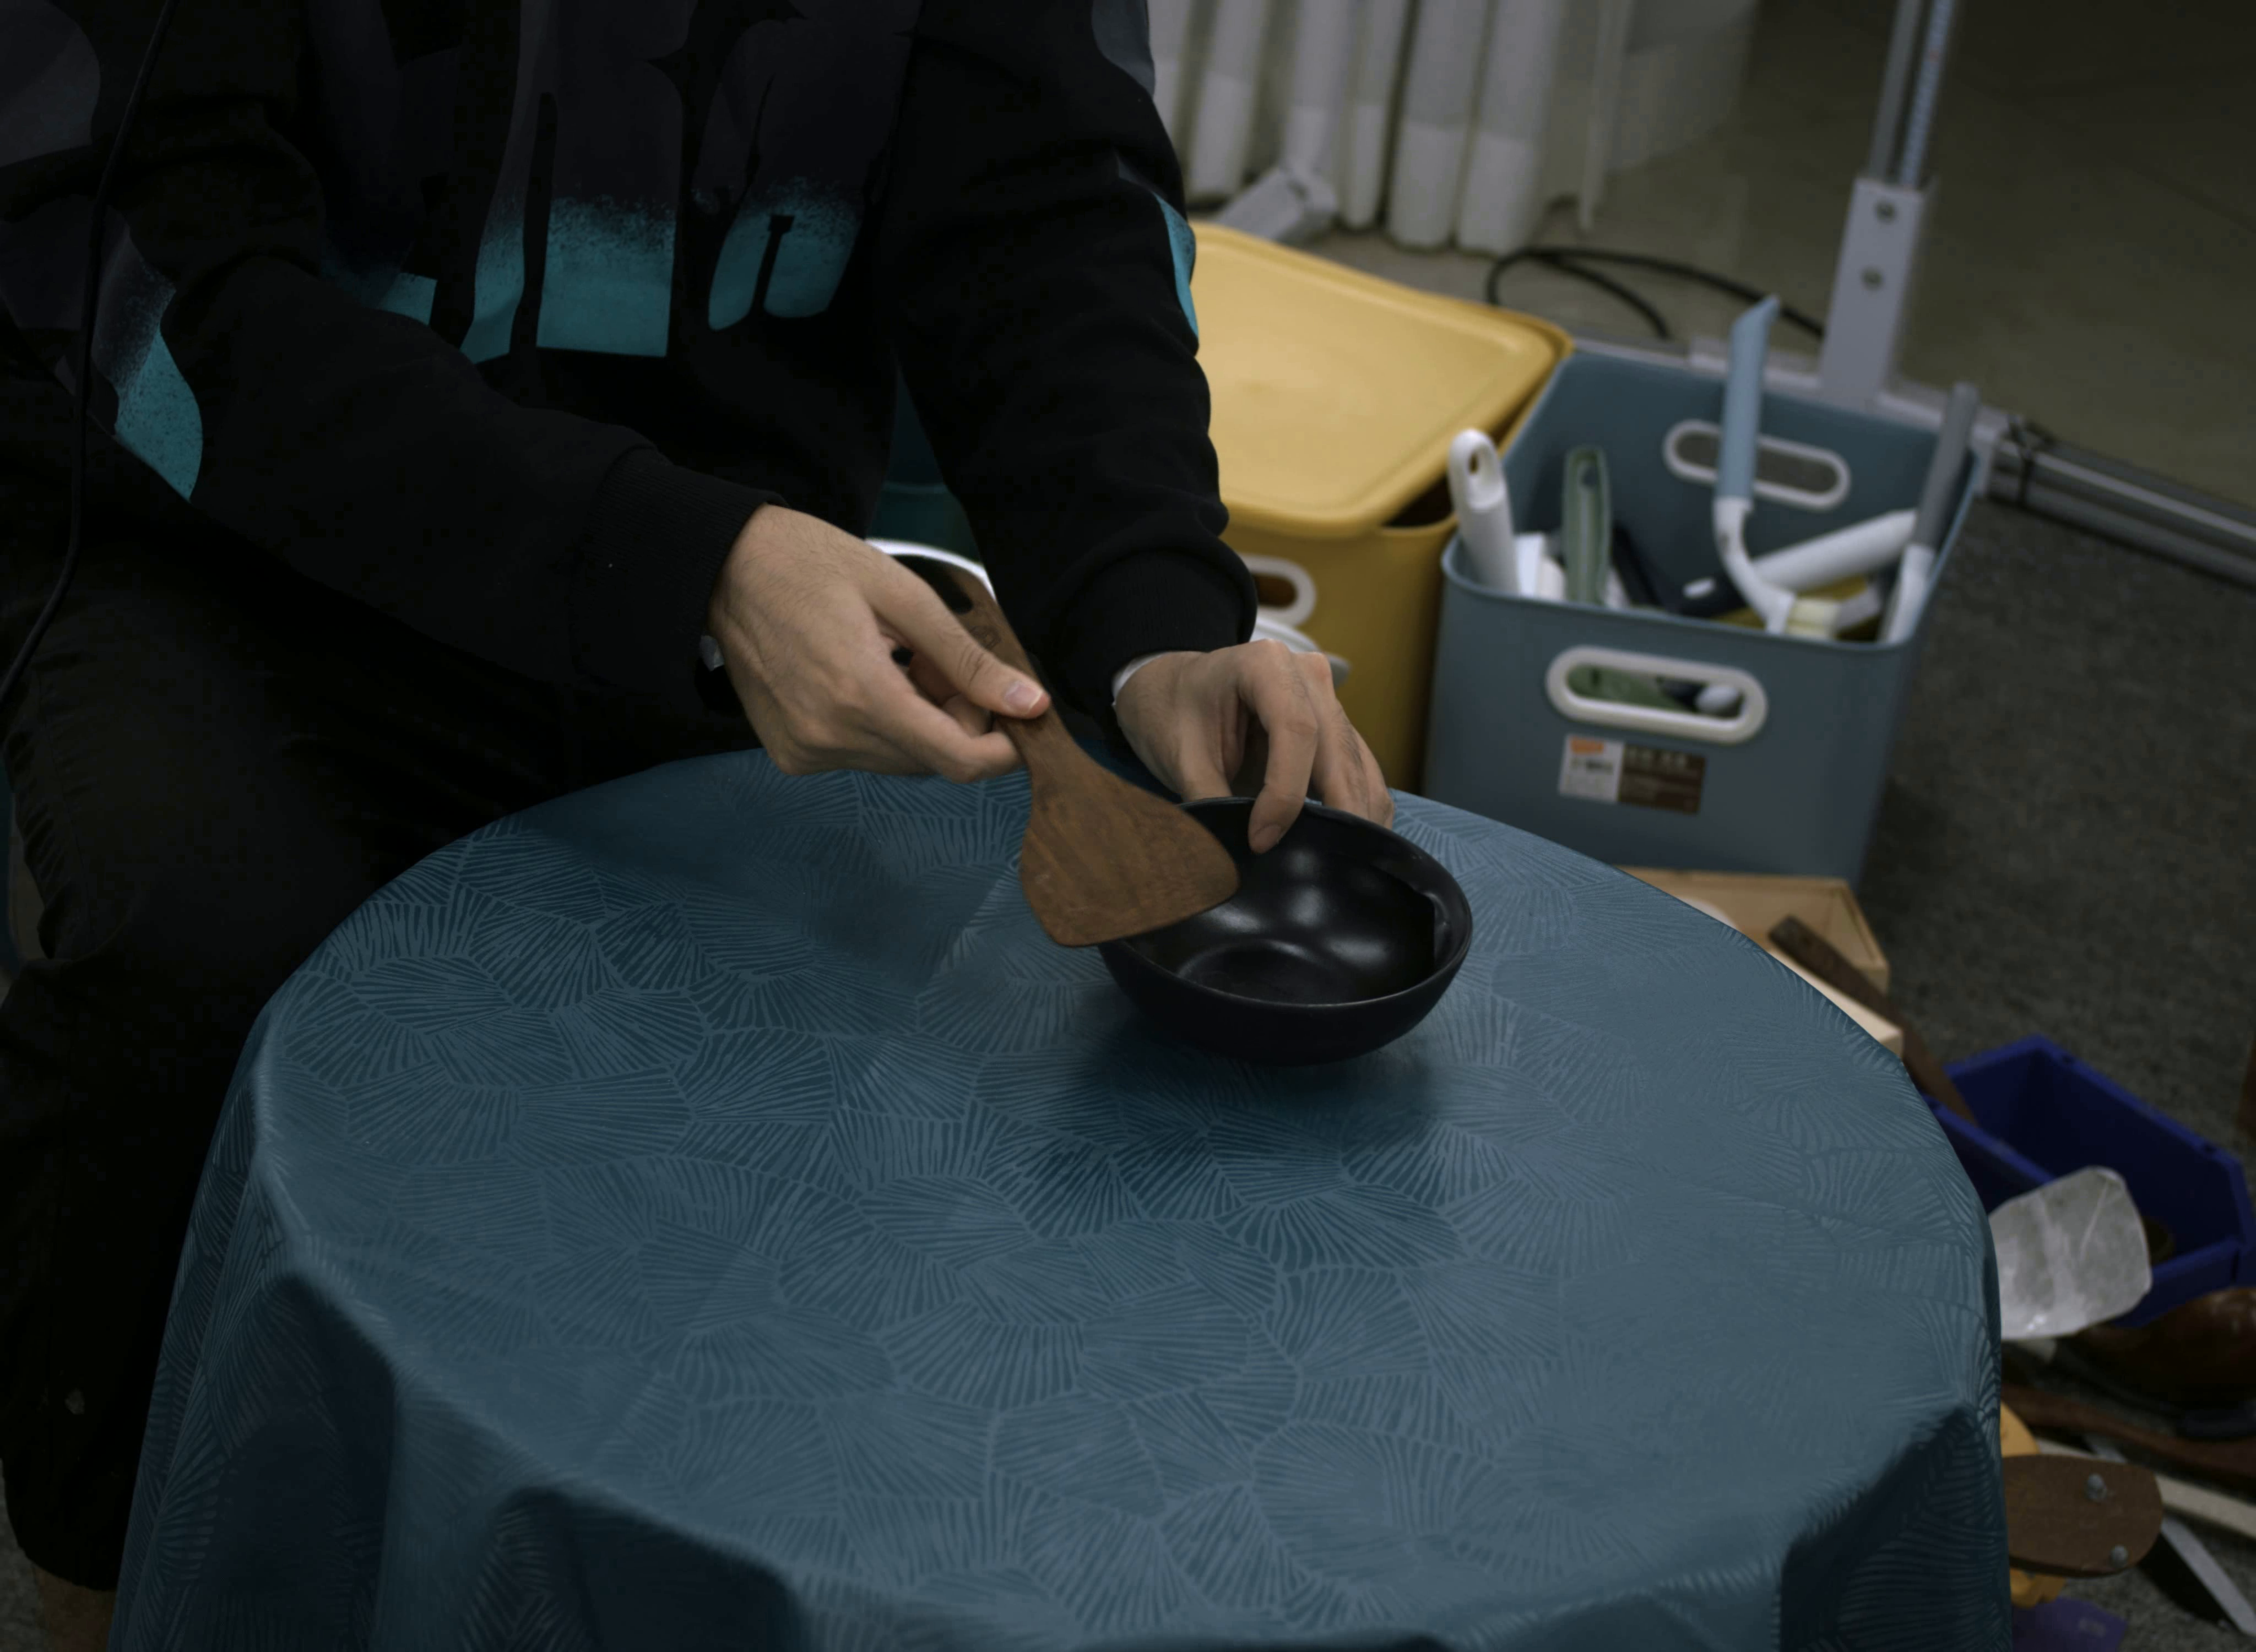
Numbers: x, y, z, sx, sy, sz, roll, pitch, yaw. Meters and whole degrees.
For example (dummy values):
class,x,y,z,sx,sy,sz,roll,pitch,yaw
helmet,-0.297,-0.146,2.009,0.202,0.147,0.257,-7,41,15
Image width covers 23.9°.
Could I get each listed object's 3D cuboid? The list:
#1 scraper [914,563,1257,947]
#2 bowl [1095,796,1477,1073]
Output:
class,x,y,z,sx,sy,sz,roll,pitch,yaw
scraper,-0.027,-0.028,1.893,0.075,0.011,0.213,-17,45,-16
bowl,0.054,0.047,1.902,0.139,0.049,0.141,3,33,-2
